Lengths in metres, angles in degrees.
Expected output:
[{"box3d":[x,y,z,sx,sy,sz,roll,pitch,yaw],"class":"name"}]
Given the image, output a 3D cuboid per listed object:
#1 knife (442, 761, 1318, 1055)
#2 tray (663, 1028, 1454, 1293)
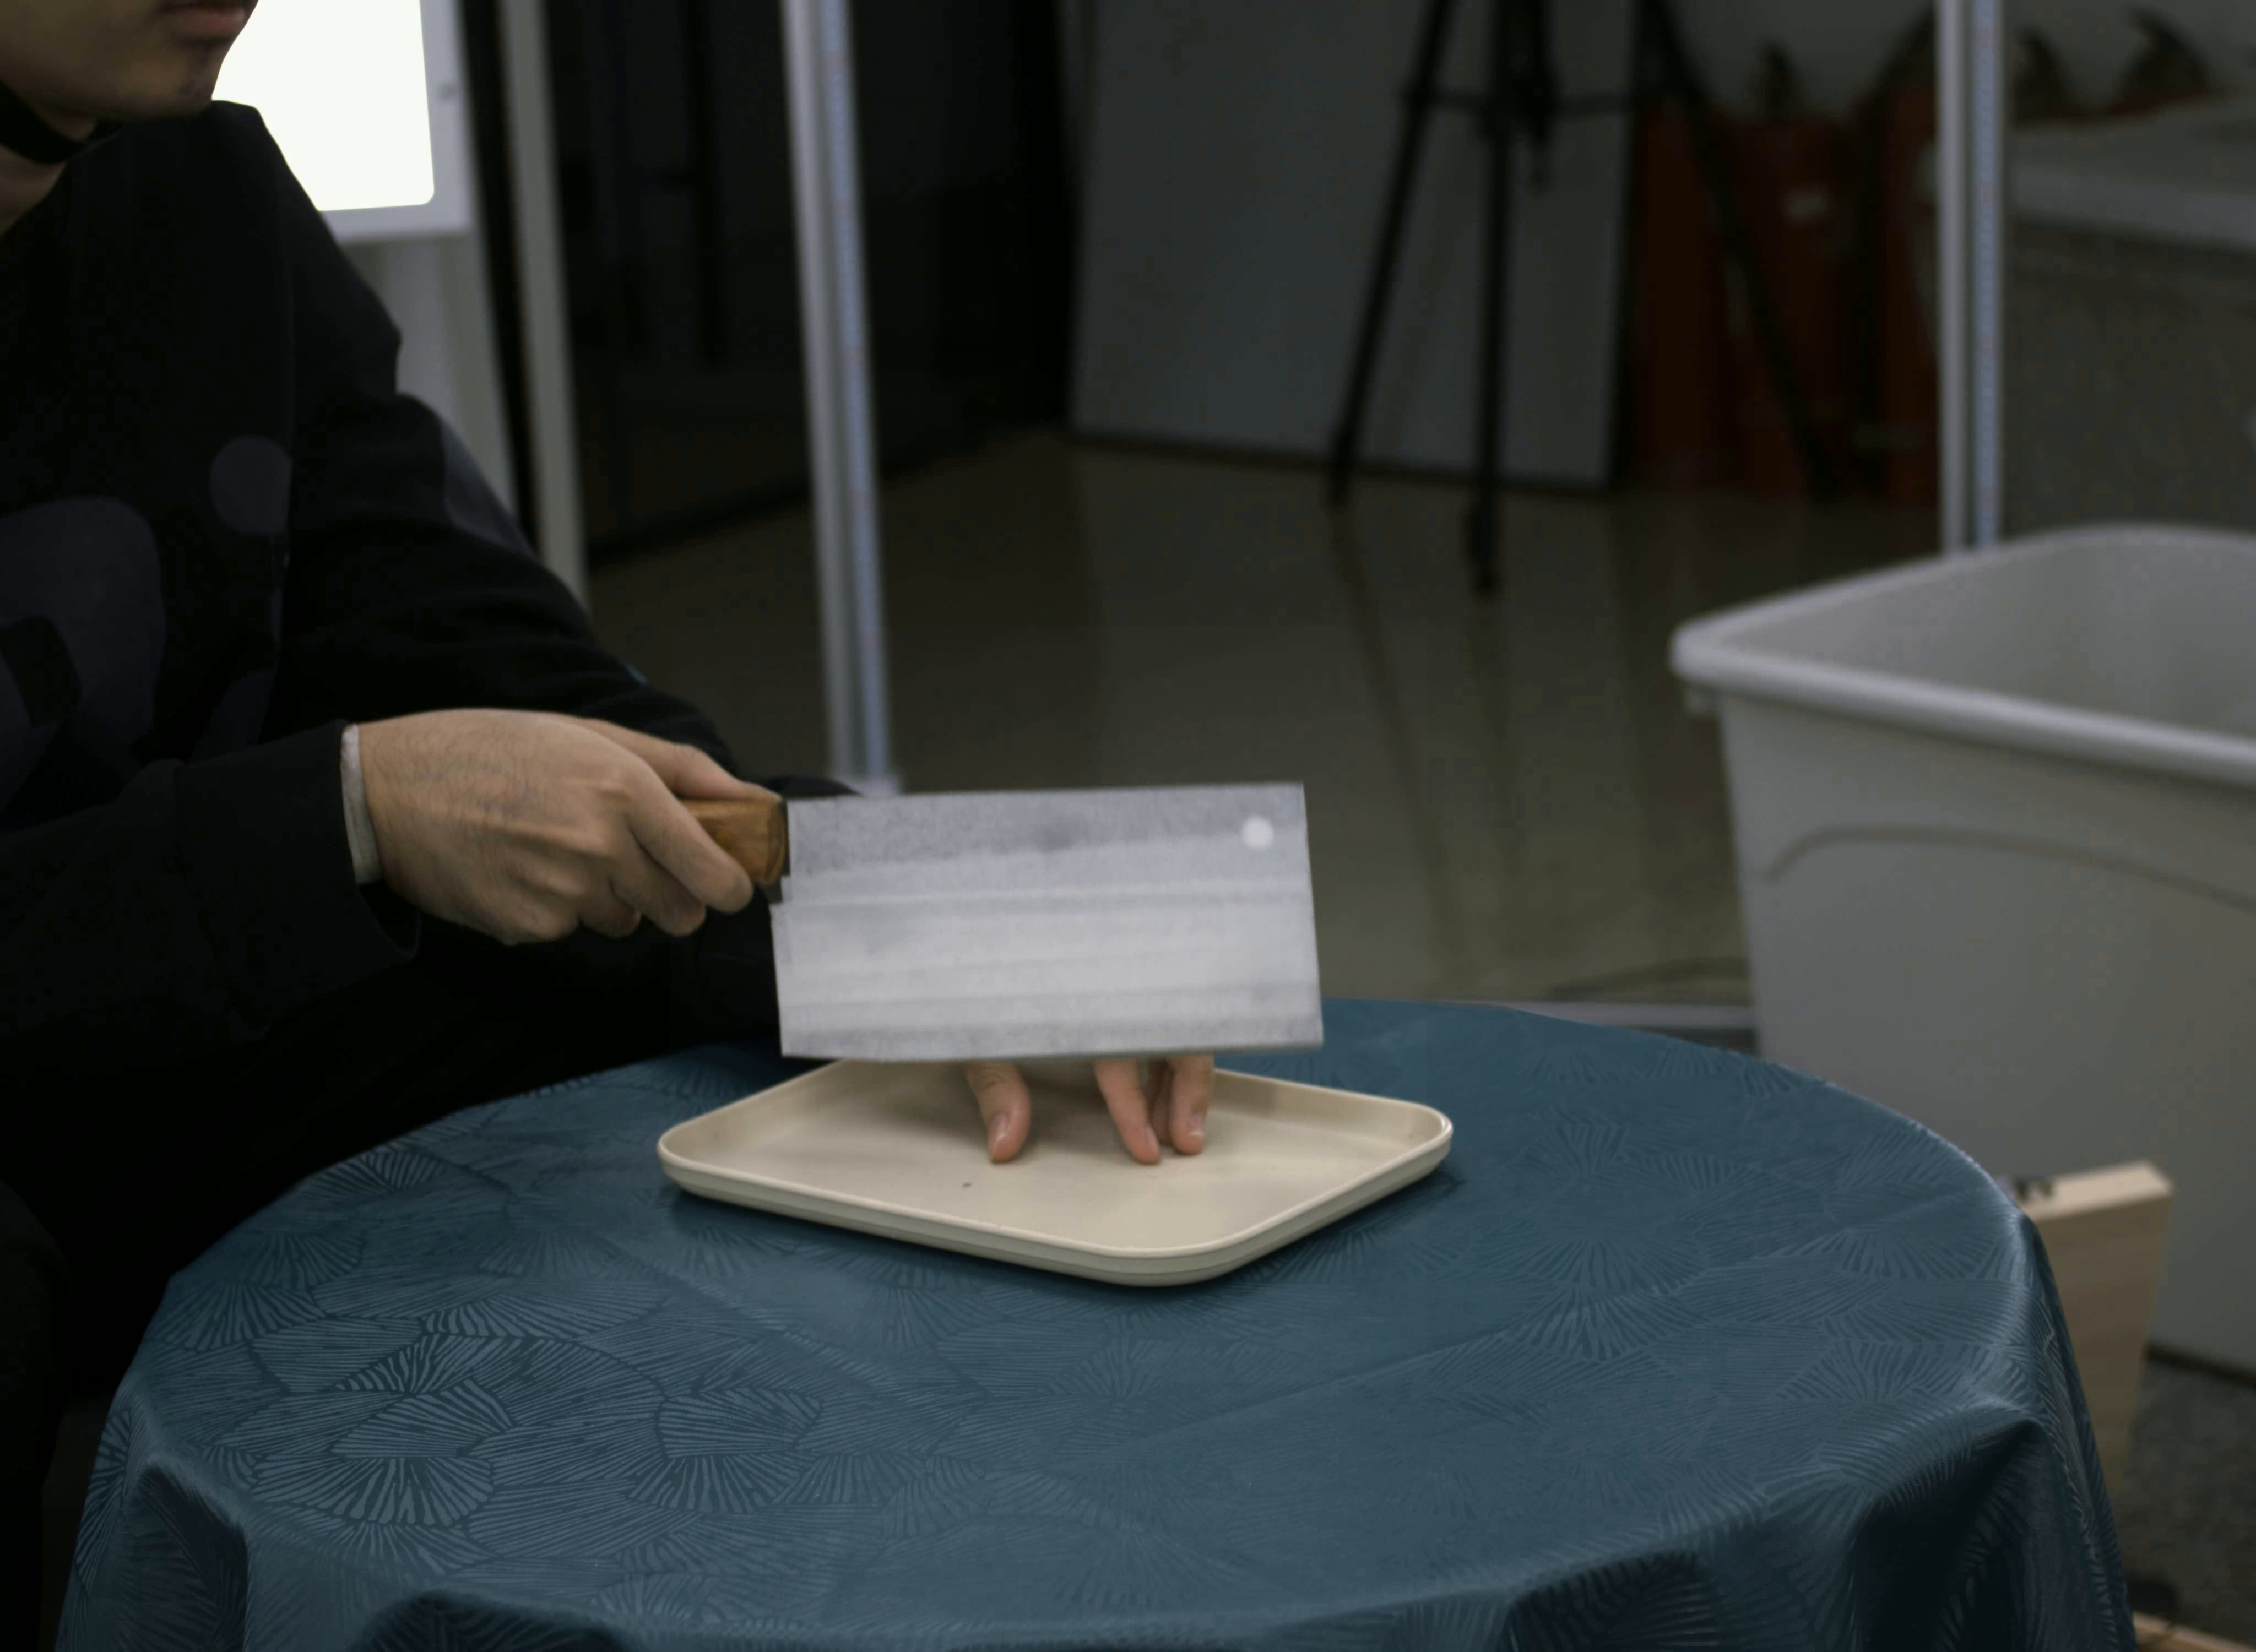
[{"box3d":[-0.084,0.030,1.801,0.305,0.094,0.021,-3,10,18],"class":"knife"},{"box3d":[-0.023,0.110,1.784,0.241,0.017,0.168,8,20,40],"class":"tray"}]
